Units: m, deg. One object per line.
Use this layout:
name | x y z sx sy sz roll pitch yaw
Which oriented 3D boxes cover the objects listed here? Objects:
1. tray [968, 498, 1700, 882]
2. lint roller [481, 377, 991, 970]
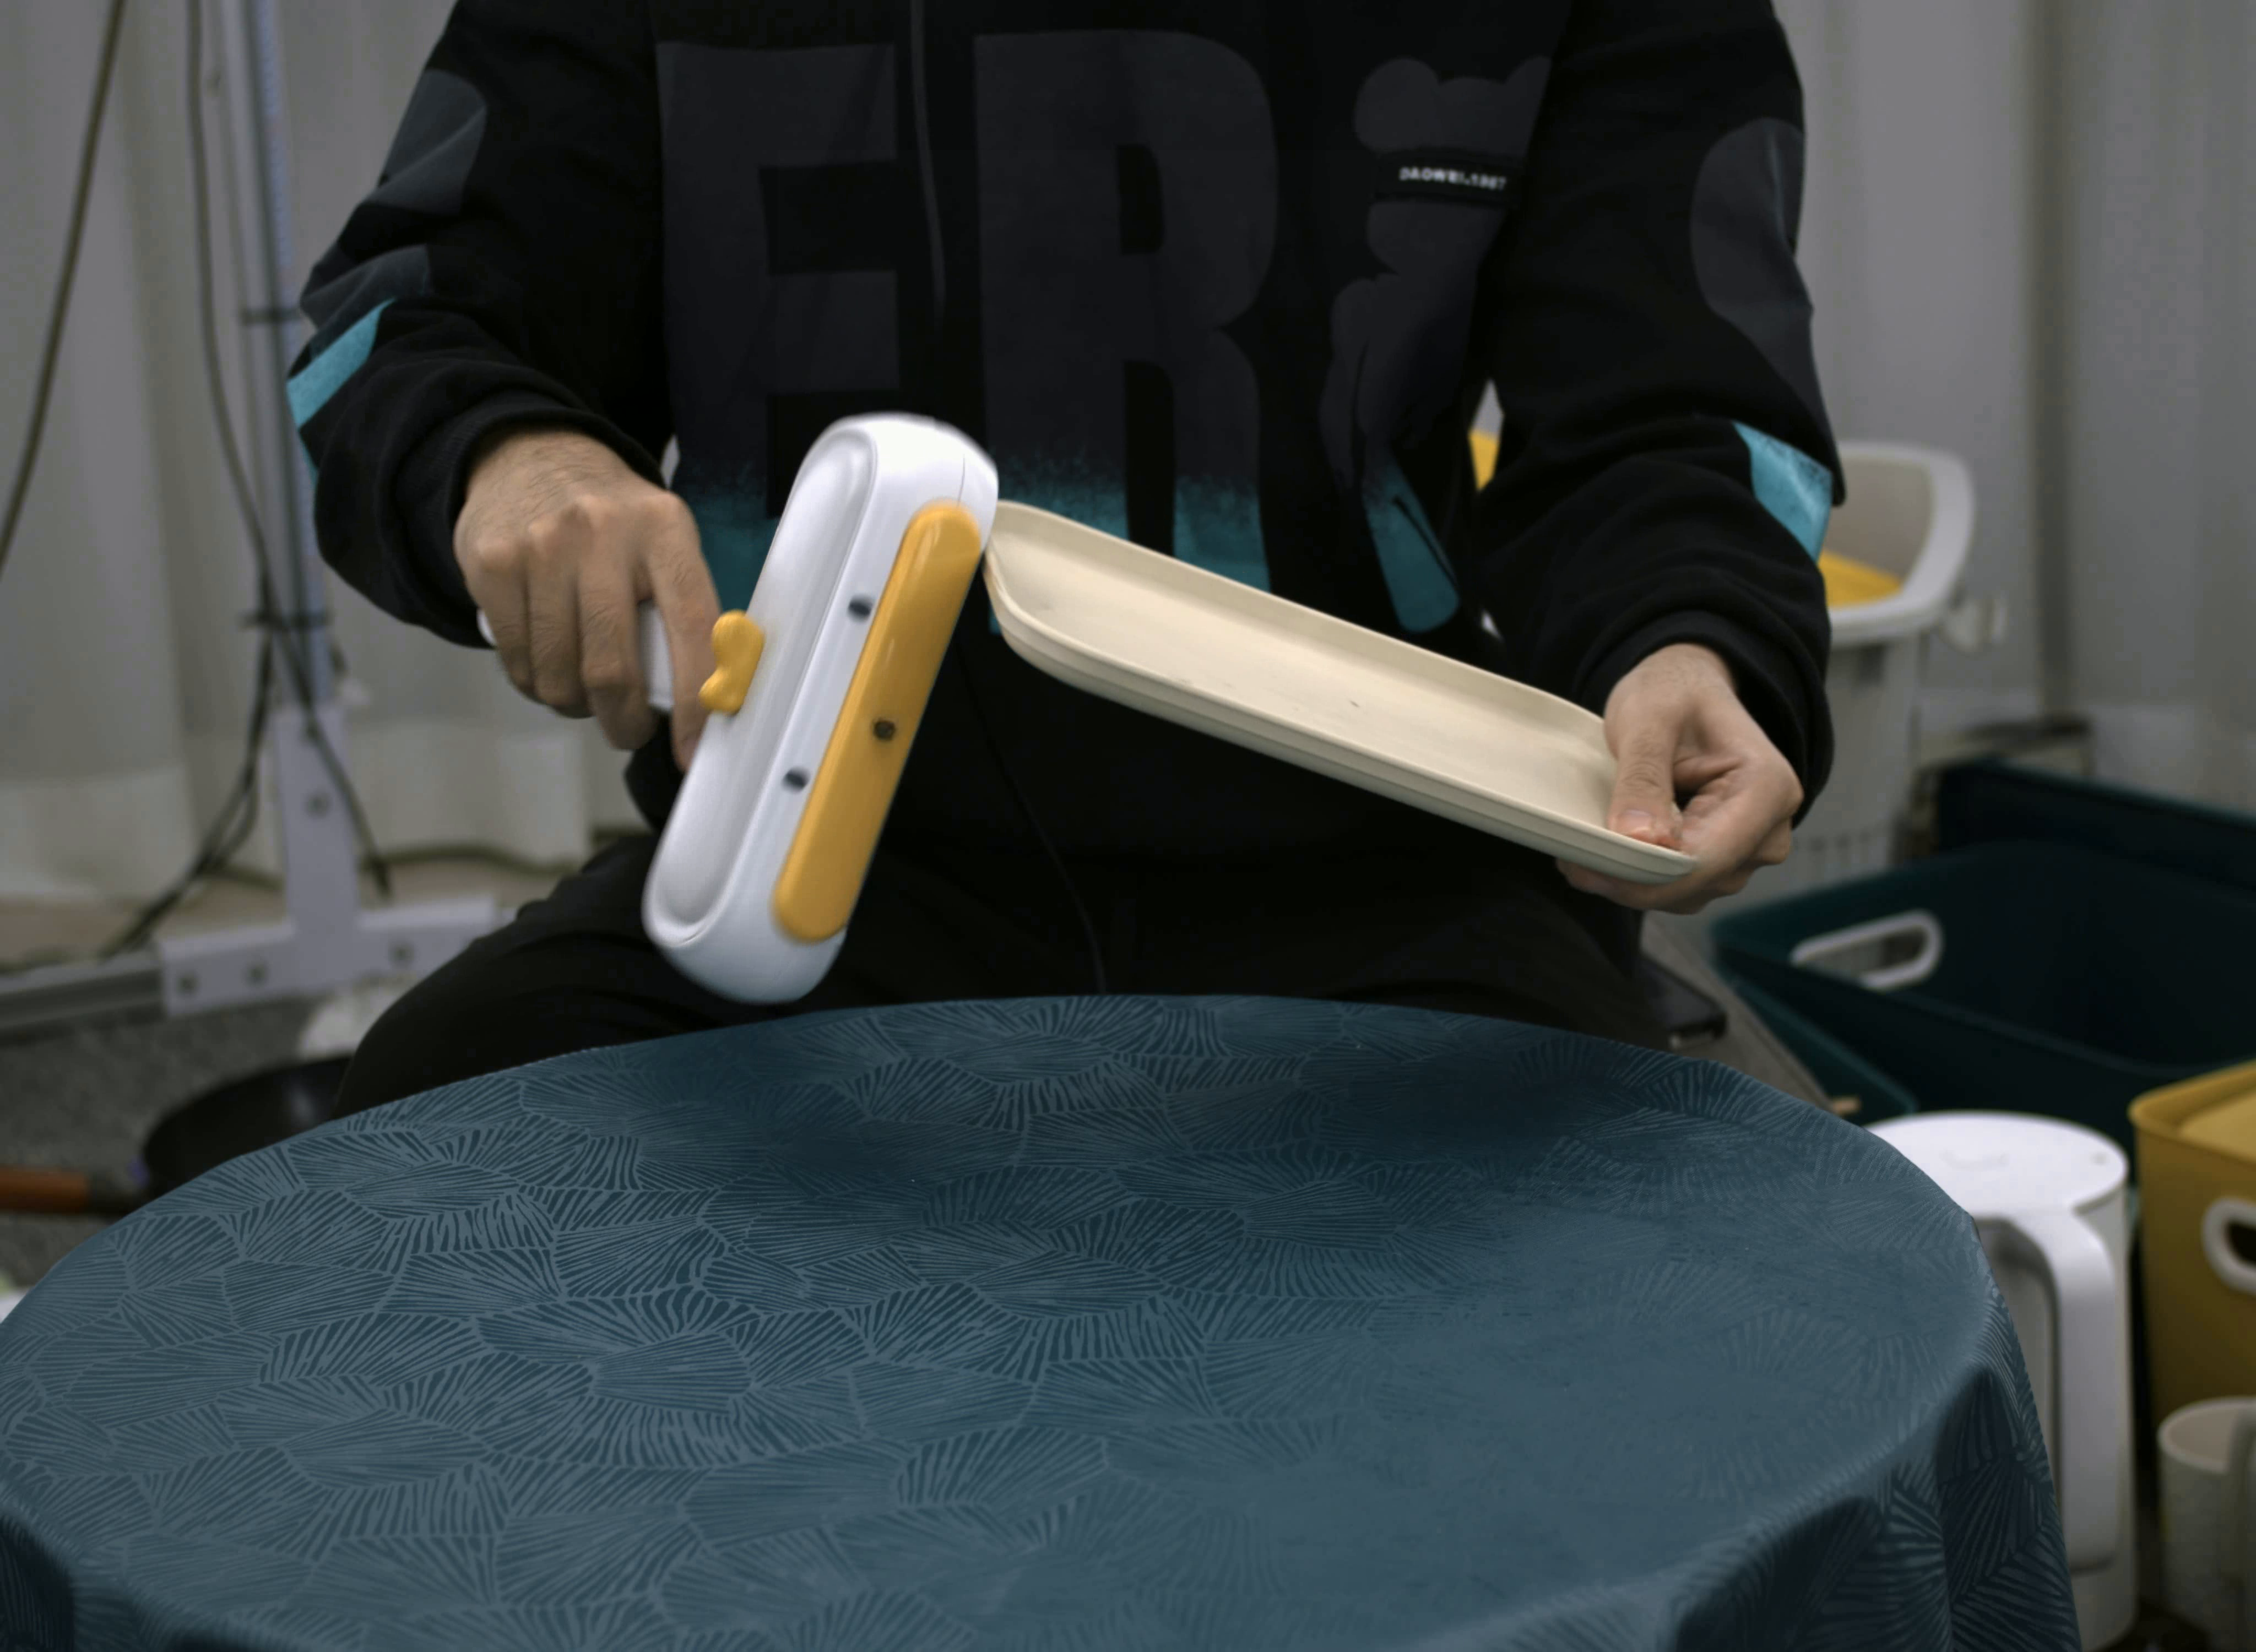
tray | 0.062 -0.043 1.754 0.238 0.017 0.172 20 13 -10
lint roller | -0.136 -0.056 1.782 0.073 0.194 0.193 16 -5 -39
